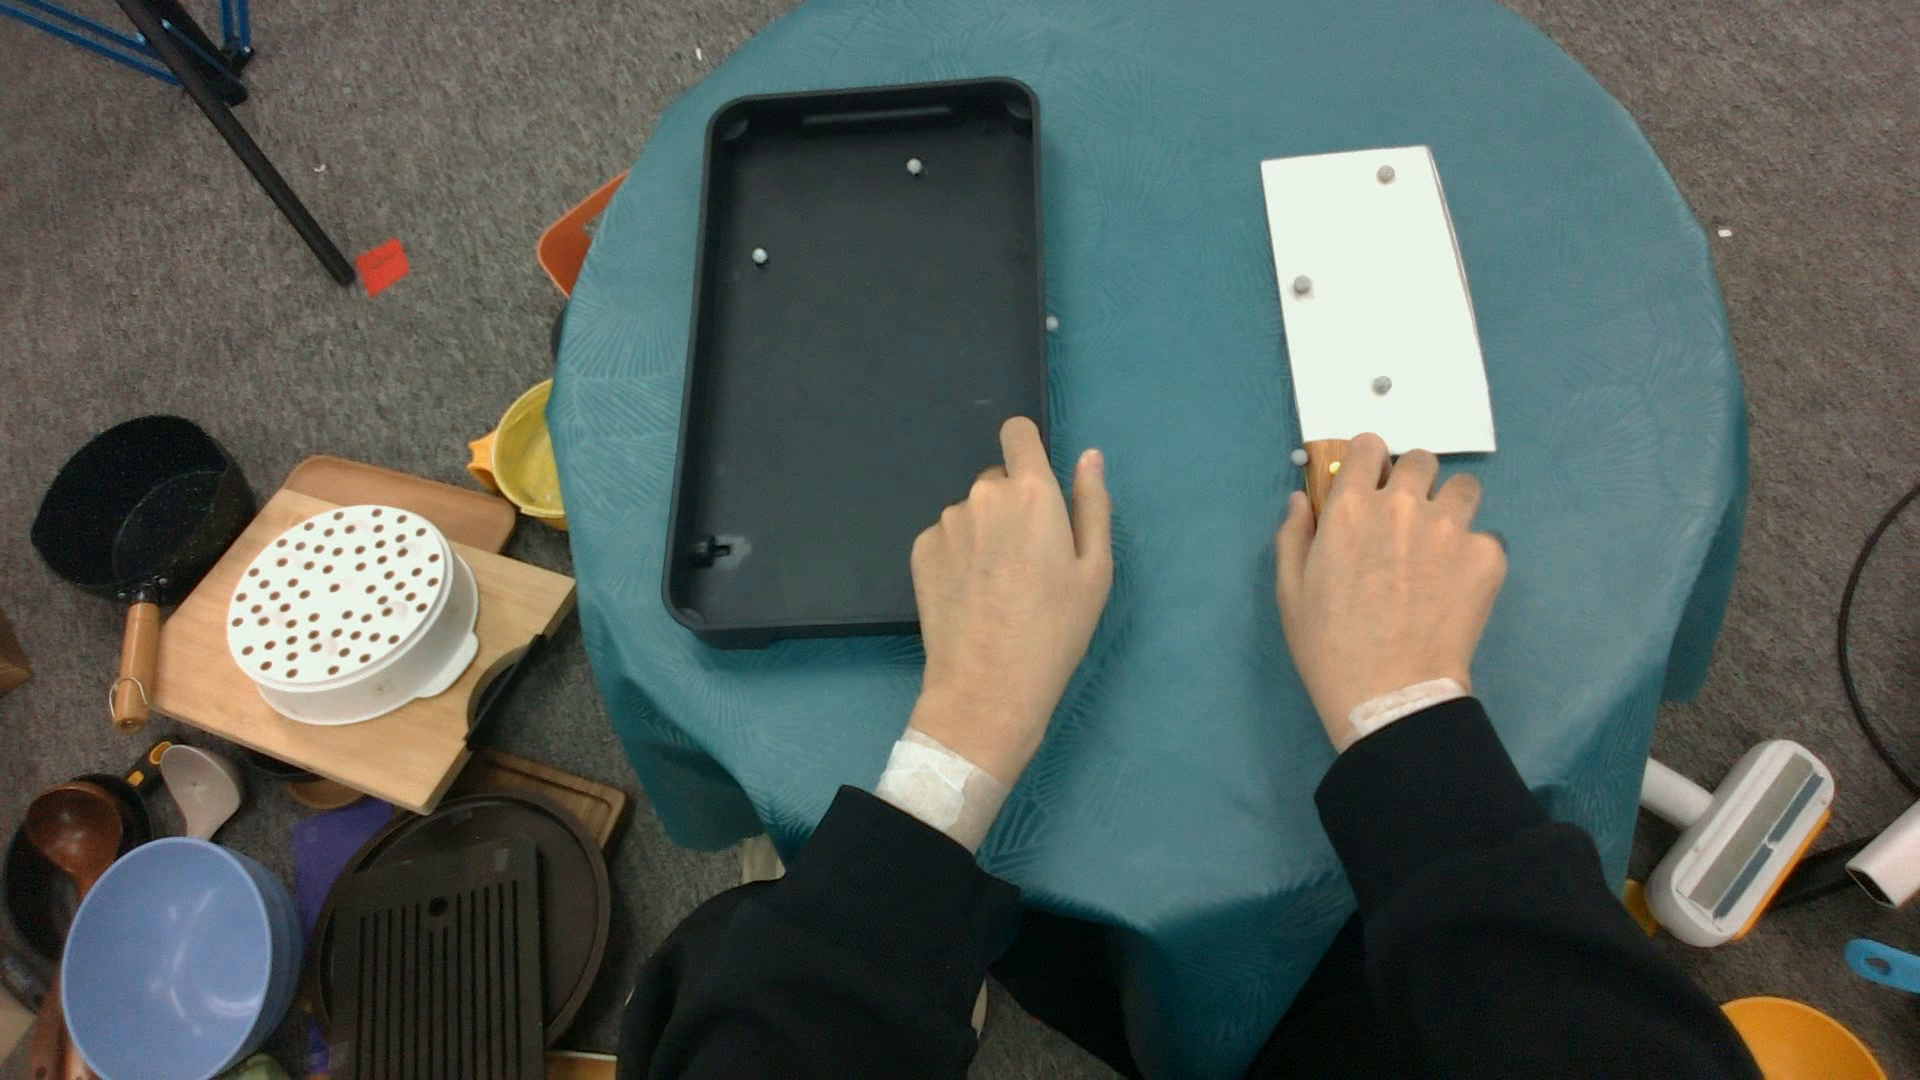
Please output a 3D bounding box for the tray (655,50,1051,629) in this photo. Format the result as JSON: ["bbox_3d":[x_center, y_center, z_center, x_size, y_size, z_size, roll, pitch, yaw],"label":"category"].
[{"bbox_3d":[-0.054,-0.111,0.704,0.184,0.037,0.319,-4,65,4],"label":"tray"}]

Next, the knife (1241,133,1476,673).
[{"bbox_3d":[0.200,-0.081,0.675,0.093,0.021,0.307,-3,63,2],"label":"knife"}]
